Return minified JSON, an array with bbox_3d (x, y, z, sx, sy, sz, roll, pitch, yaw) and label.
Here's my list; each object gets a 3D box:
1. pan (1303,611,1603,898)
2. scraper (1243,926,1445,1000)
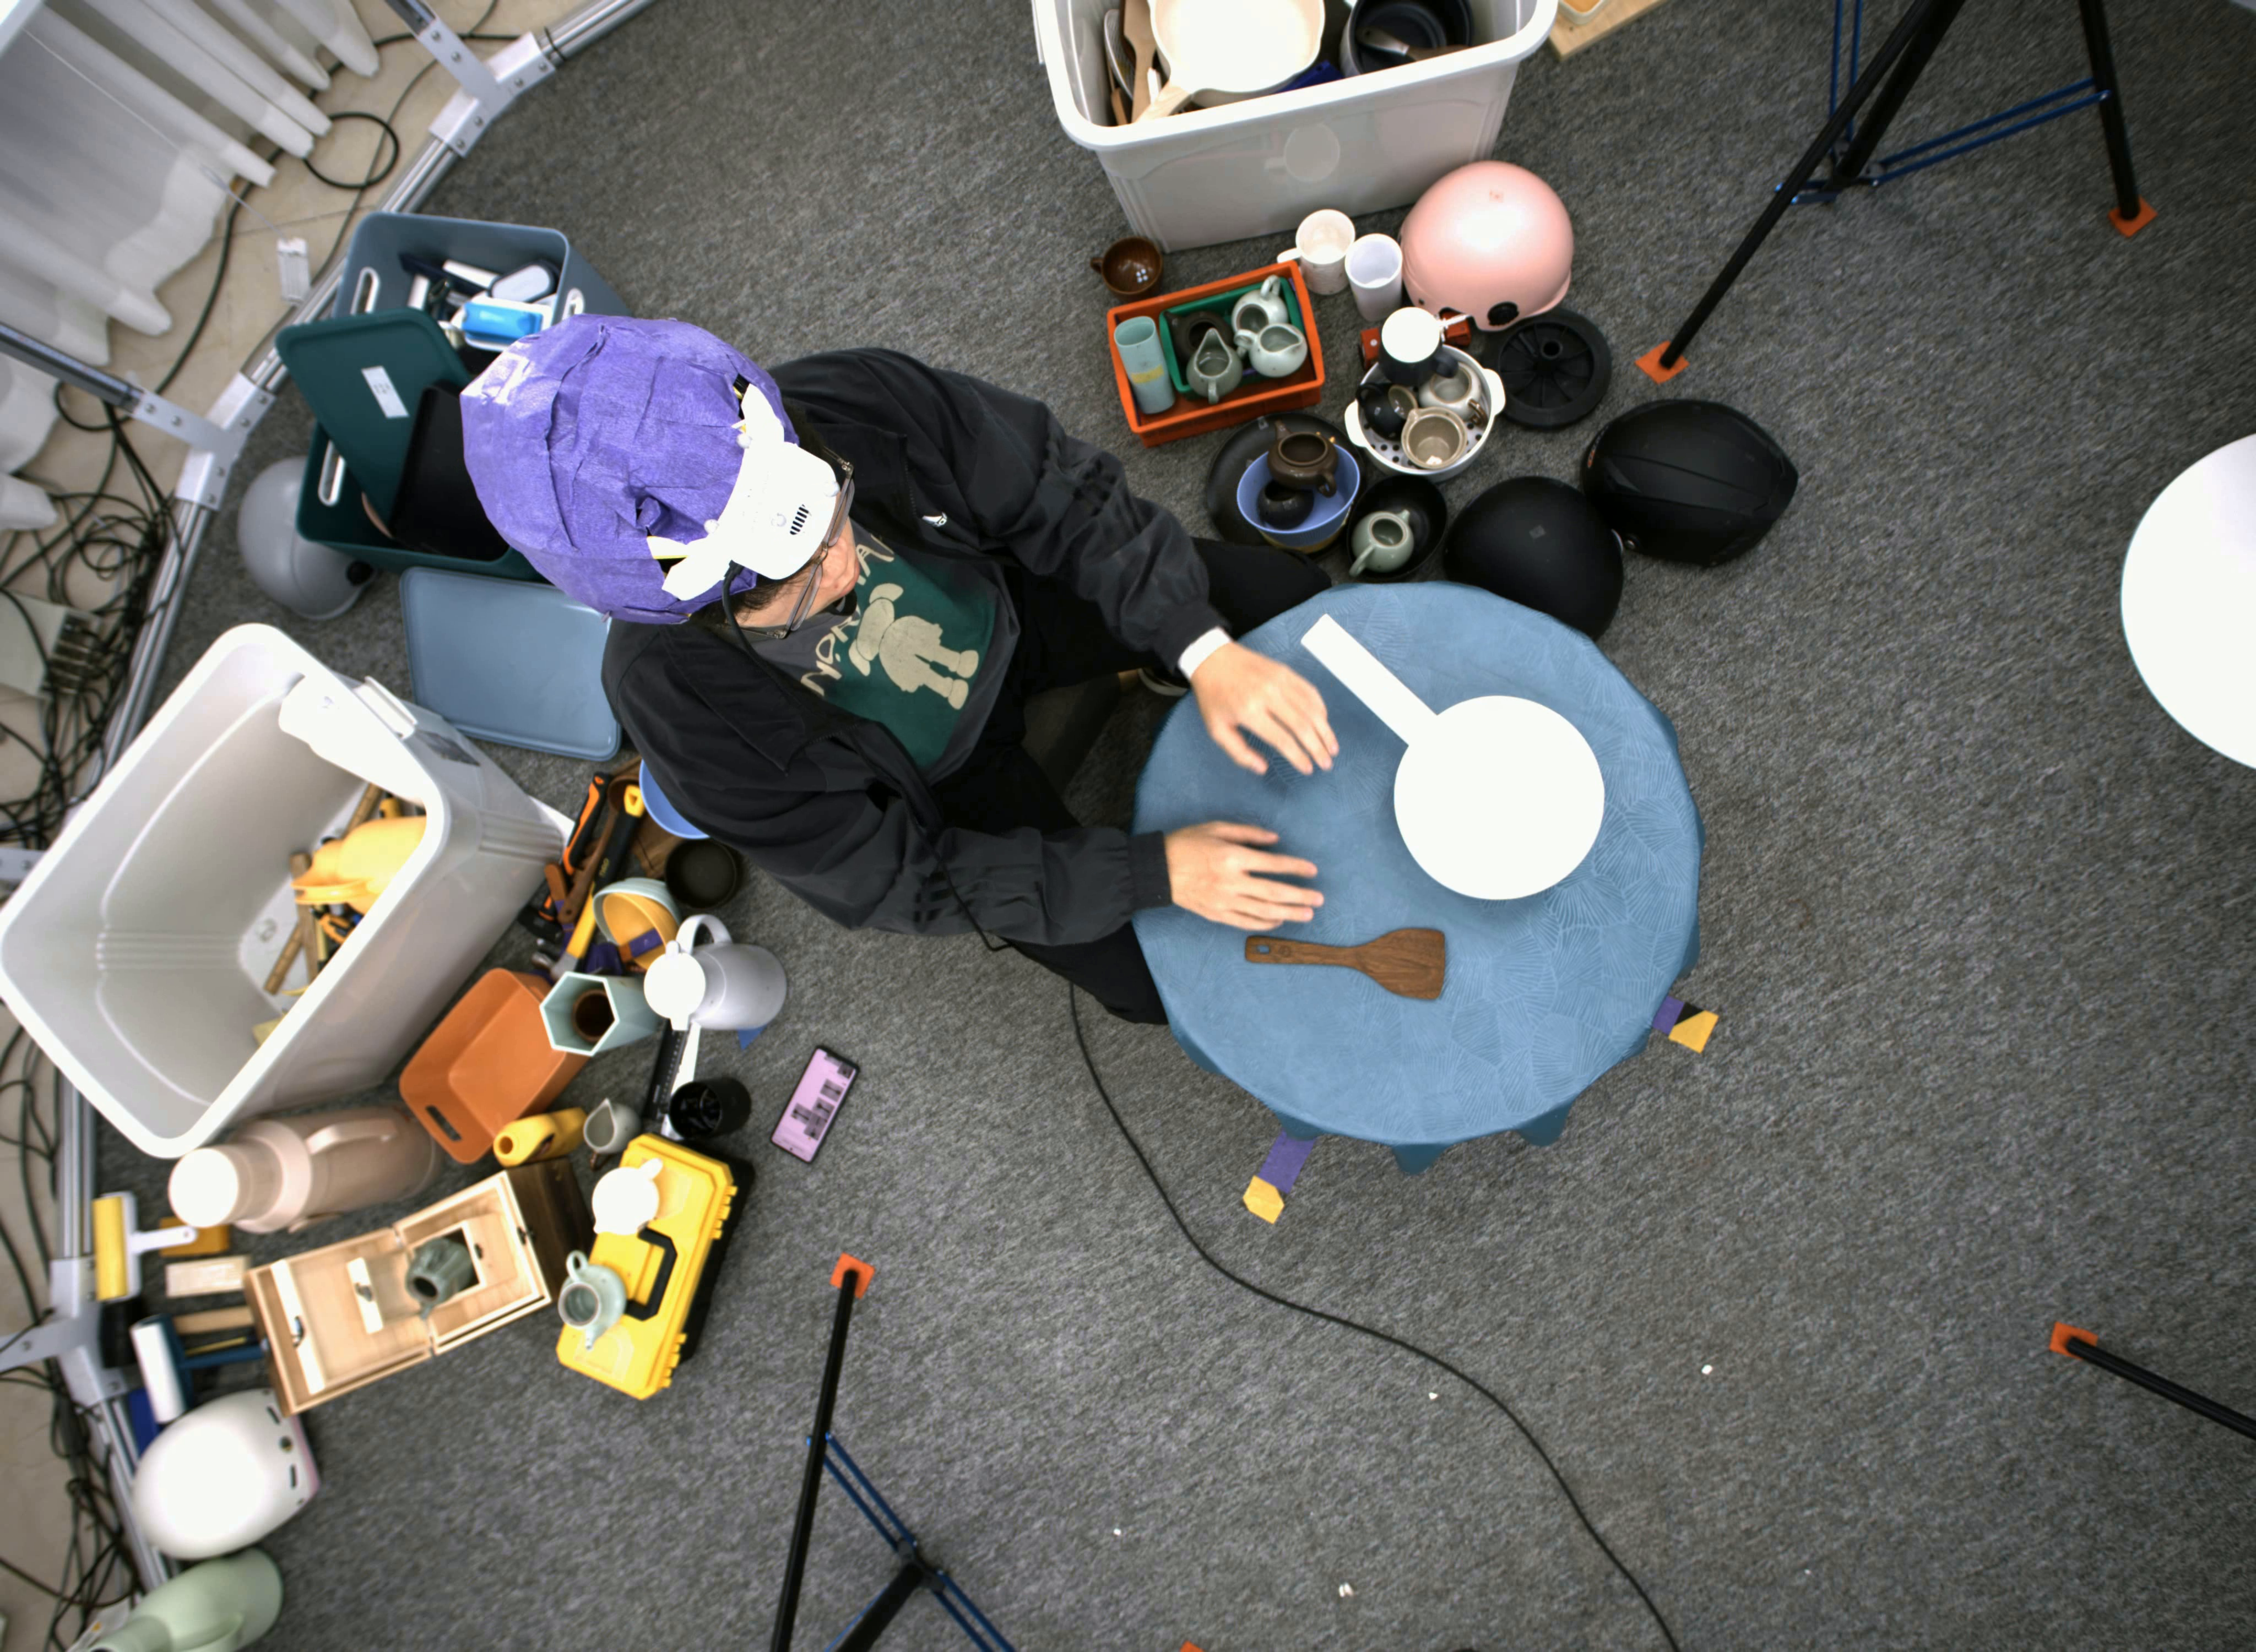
[{"bbox_3d":[0.319,-0.080,1.408,0.202,0.102,0.353,-46,79,5],"label":"pan"},{"bbox_3d":[0.226,0.136,1.459,0.212,0.011,0.075,4,87,12],"label":"scraper"}]
